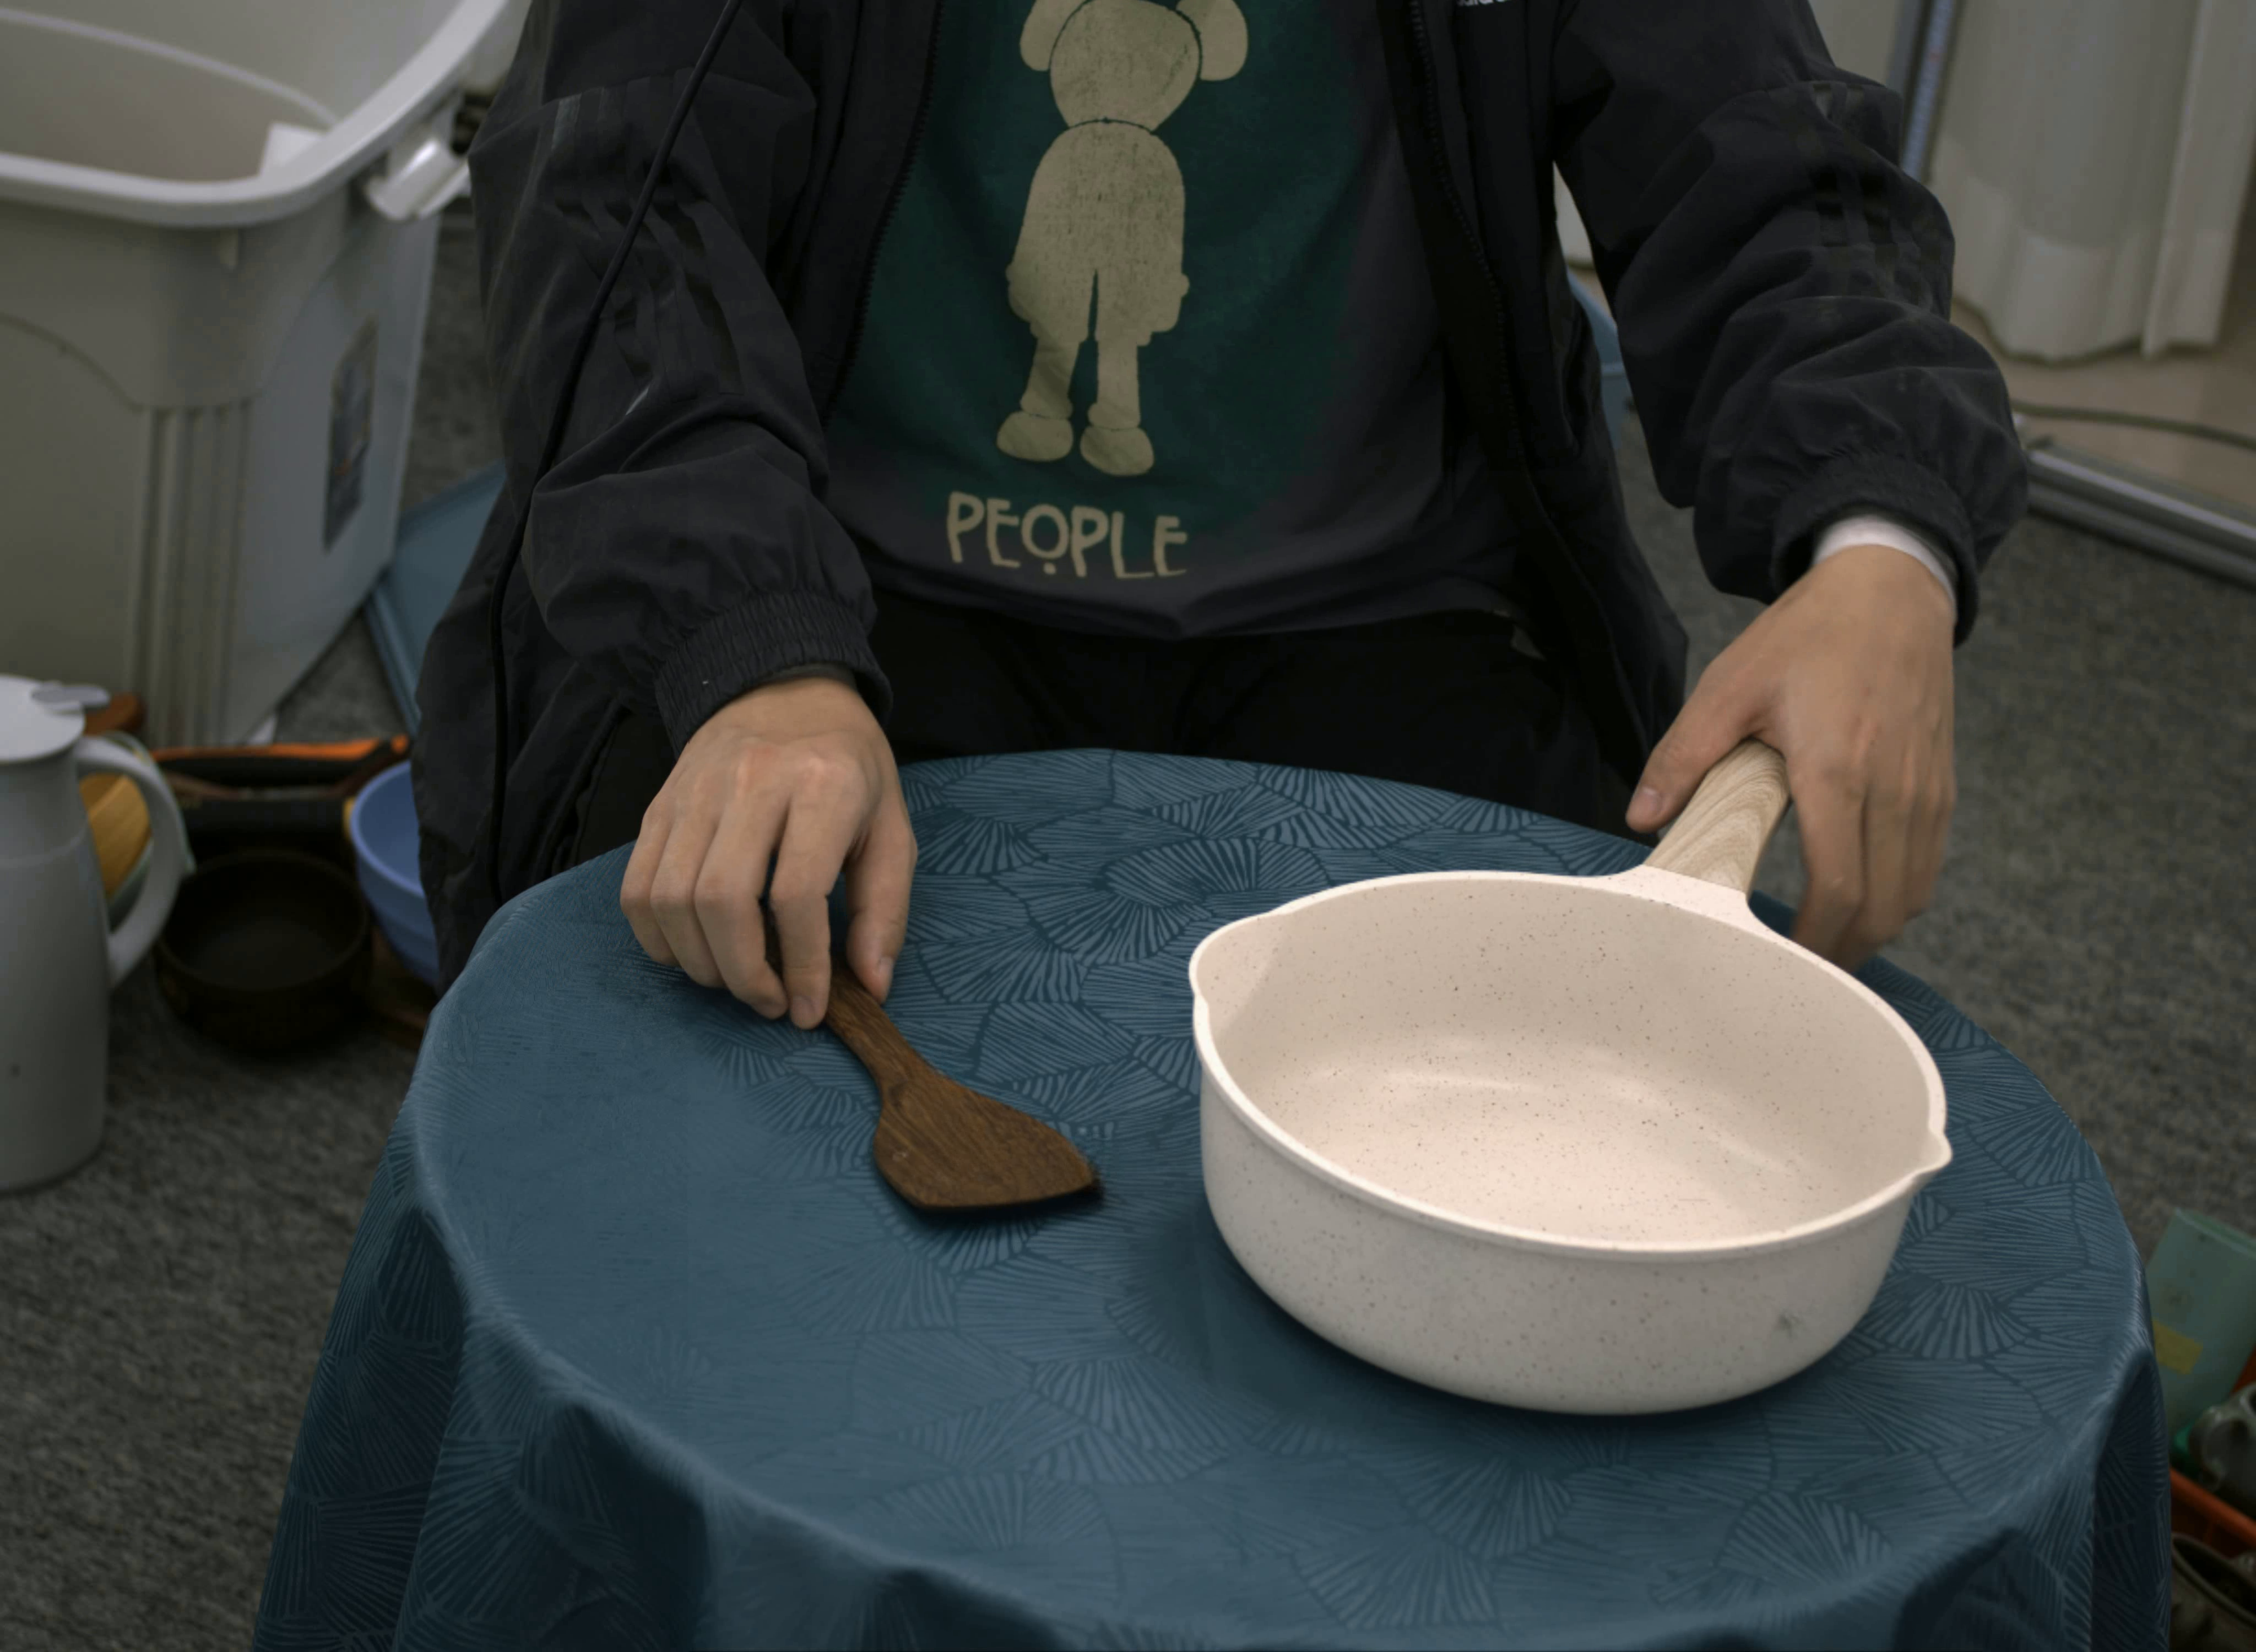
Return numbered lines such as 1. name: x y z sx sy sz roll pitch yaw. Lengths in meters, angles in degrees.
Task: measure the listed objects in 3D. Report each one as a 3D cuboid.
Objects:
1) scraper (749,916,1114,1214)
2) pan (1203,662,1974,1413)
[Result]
1. scraper: -0.081 0.082 1.858 0.075 0.011 0.213 -6 29 -27
2. pan: 0.181 0.067 1.848 0.264 0.101 0.435 14 27 17
